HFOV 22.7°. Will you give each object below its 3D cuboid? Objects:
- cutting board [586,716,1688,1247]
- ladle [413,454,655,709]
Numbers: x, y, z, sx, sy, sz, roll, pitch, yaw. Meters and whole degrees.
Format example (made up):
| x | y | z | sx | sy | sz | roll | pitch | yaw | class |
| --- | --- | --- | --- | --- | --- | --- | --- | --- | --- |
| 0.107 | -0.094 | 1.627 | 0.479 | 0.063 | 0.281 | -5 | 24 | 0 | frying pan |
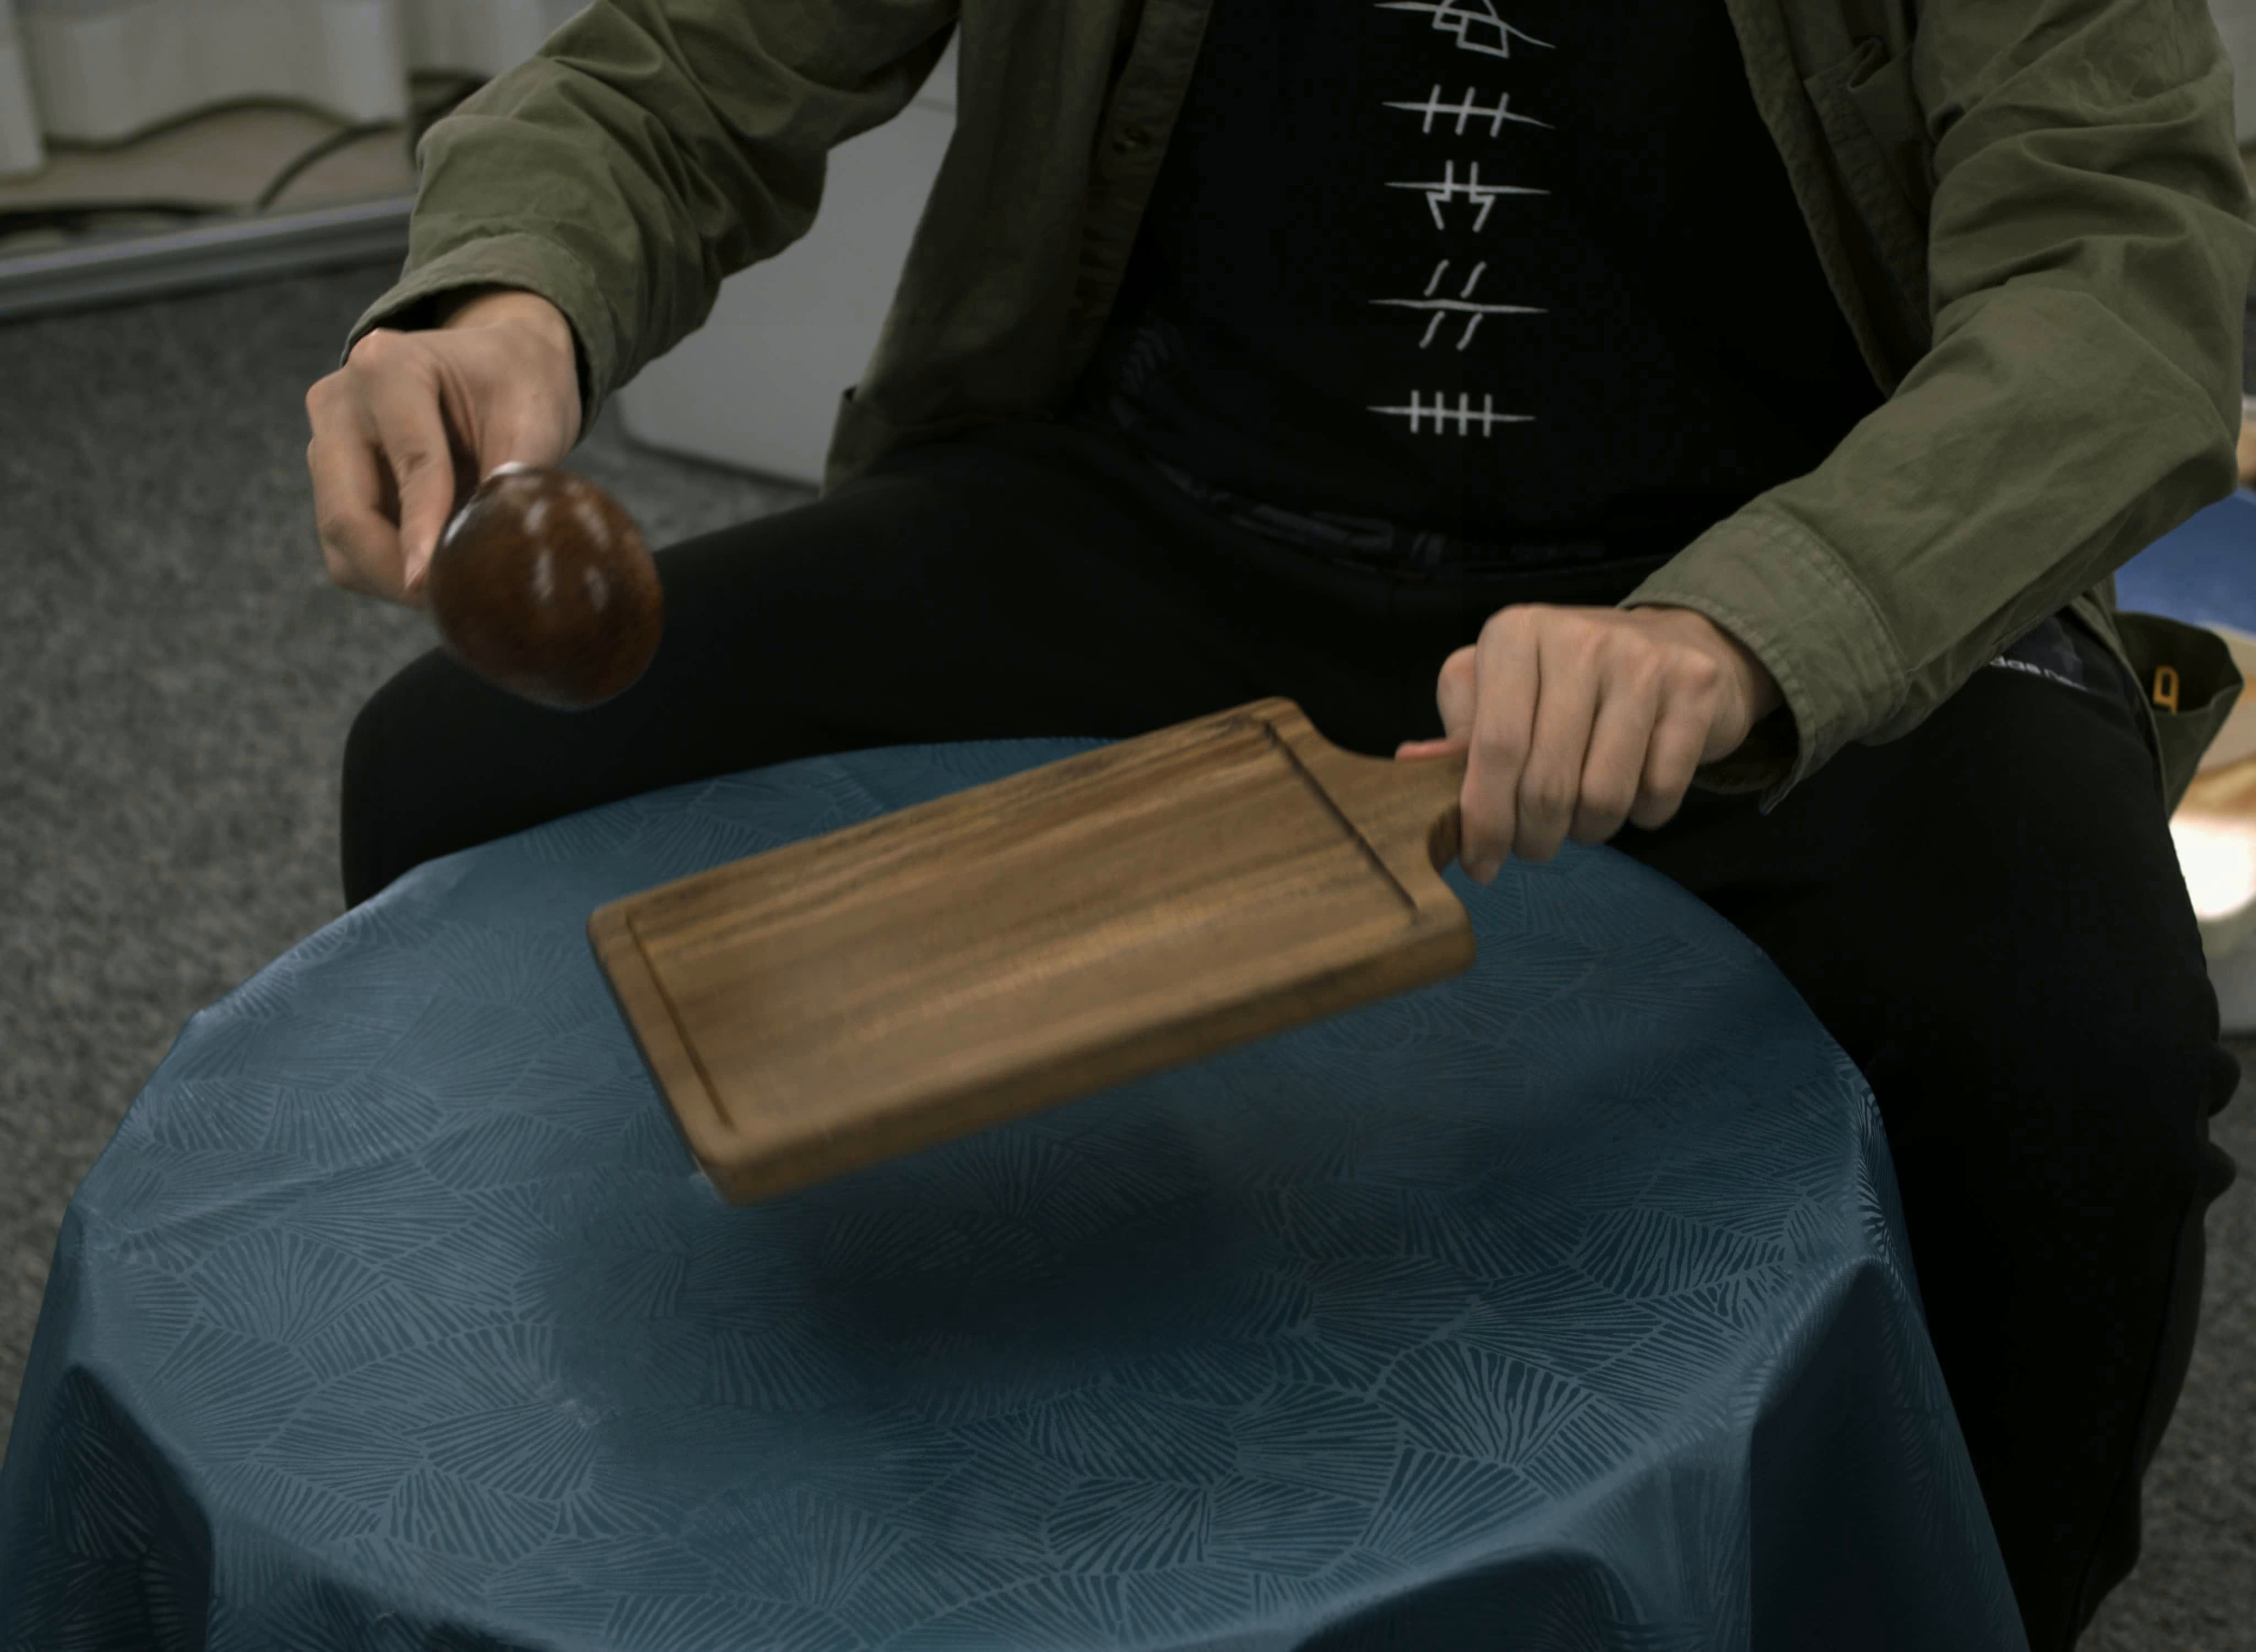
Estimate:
| x | y | z | sx | sy | sz | roll | pitch | yaw | class |
| --- | --- | --- | --- | --- | --- | --- | --- | --- | --- |
| 0.013 | 0.030 | 1.779 | 0.352 | 0.023 | 0.203 | -17 | 27 | -10 | cutting board |
| -0.200 | -0.093 | 1.871 | 0.076 | 0.082 | 0.275 | -16 | 11 | -4 | ladle |
